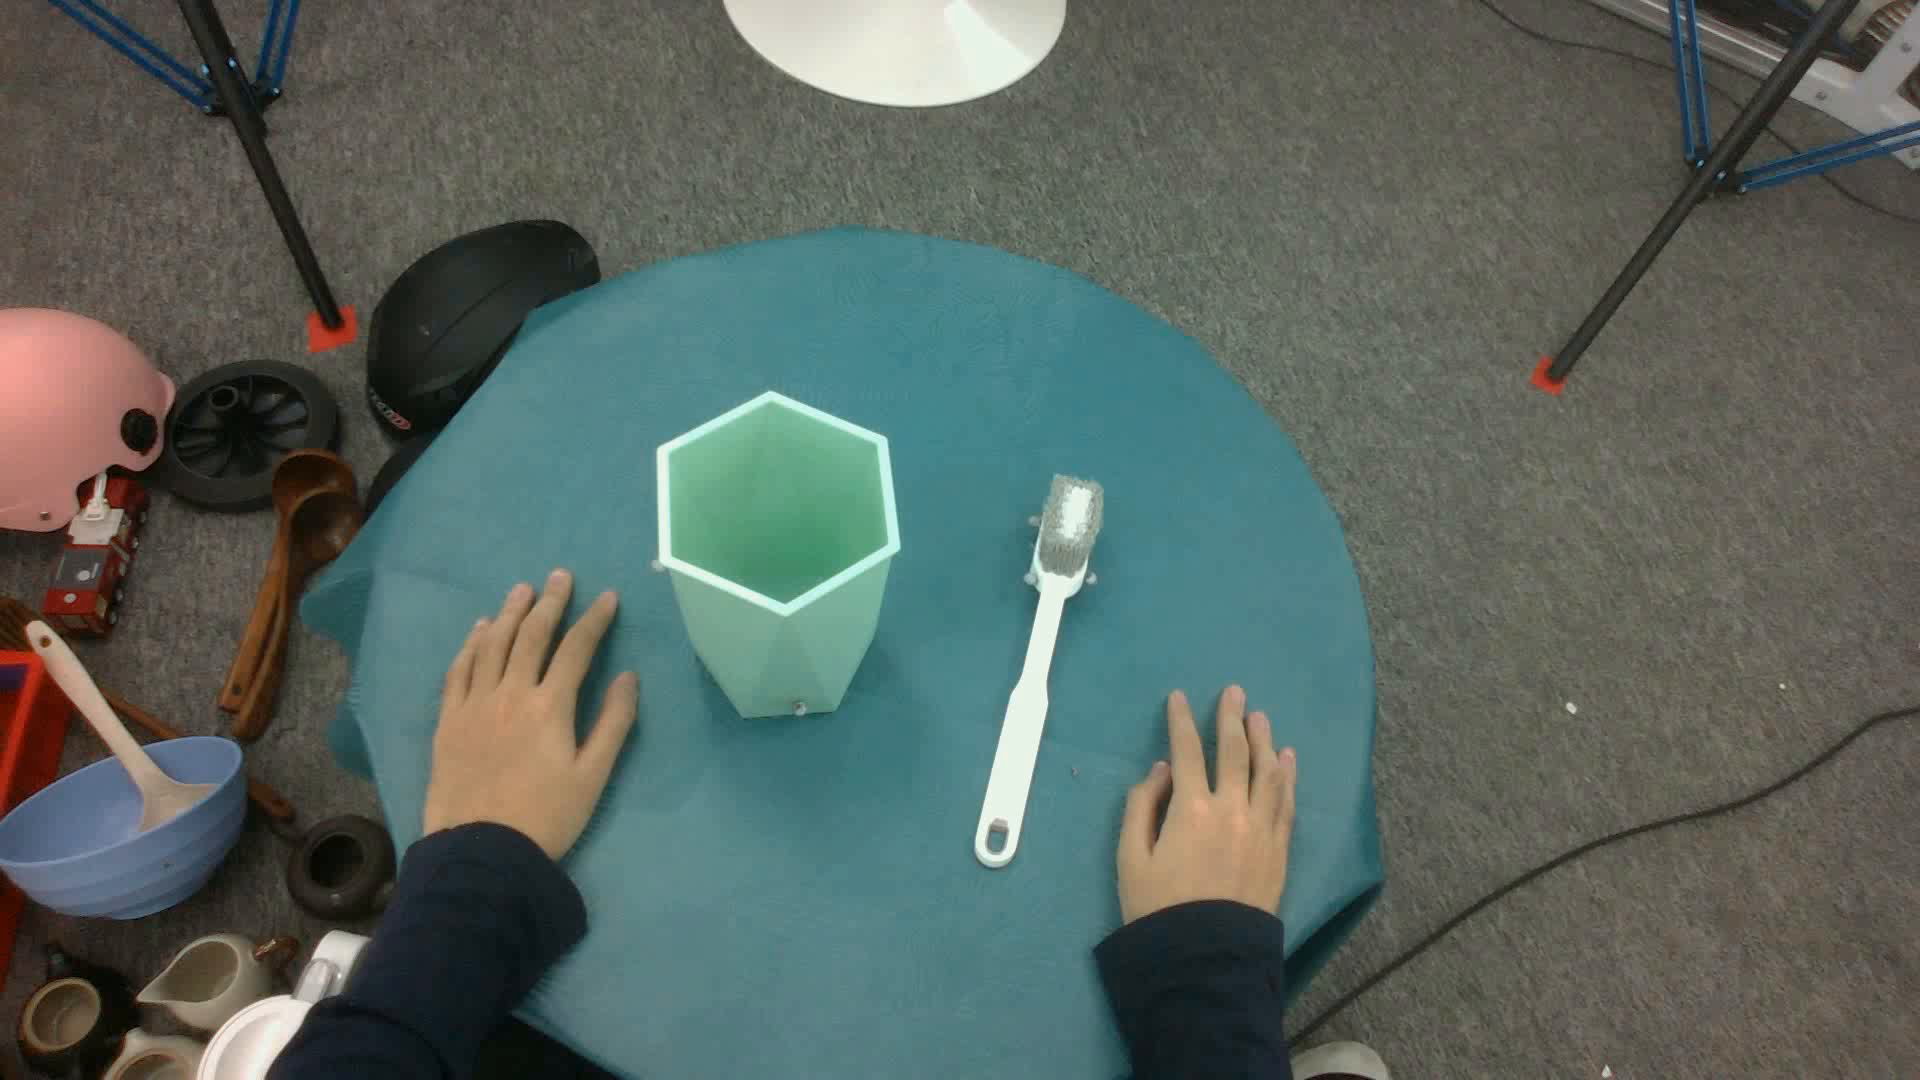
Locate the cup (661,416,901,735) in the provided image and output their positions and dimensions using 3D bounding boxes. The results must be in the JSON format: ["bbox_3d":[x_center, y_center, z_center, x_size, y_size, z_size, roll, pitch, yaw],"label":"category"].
[{"bbox_3d":[-0.097,0.031,0.753,0.131,0.162,0.115,-33,68,-23],"label":"cup"}]

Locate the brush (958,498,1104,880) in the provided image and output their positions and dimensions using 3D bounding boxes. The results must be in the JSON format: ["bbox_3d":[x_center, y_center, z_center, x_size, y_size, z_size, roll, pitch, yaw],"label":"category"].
[{"bbox_3d":[0.044,0.078,0.807,0.034,0.050,0.245,18,58,1],"label":"brush"}]
